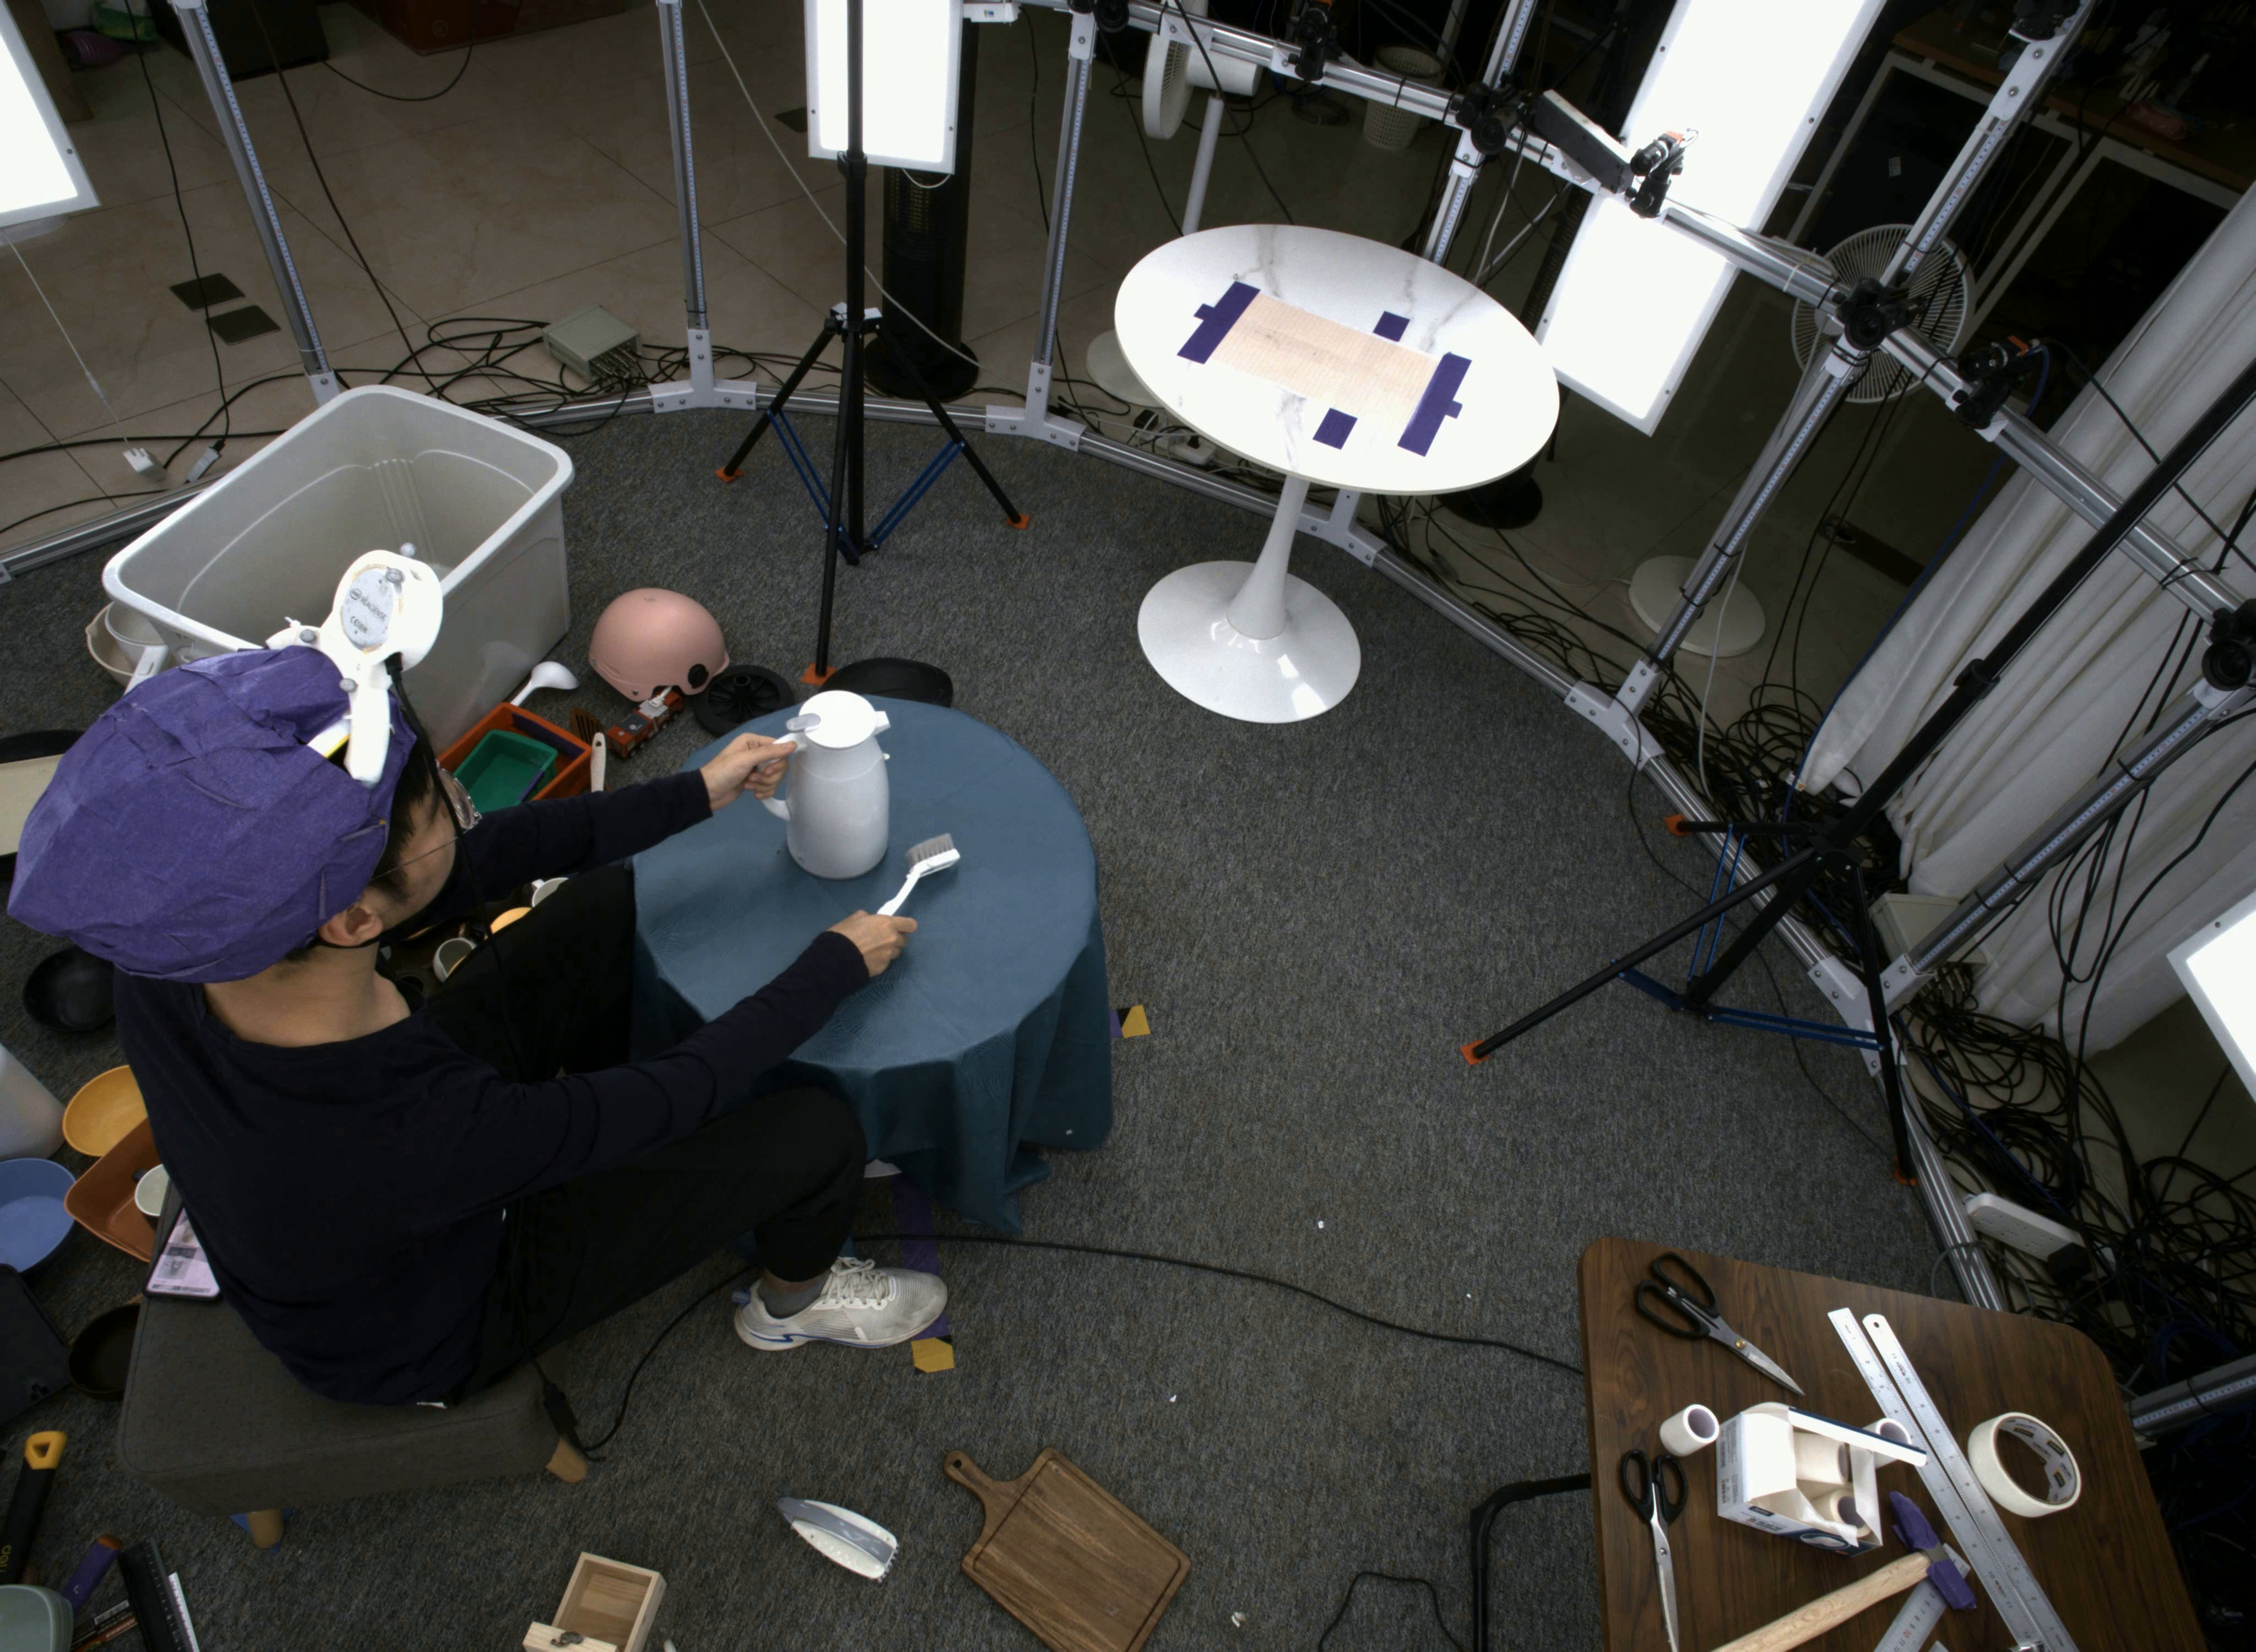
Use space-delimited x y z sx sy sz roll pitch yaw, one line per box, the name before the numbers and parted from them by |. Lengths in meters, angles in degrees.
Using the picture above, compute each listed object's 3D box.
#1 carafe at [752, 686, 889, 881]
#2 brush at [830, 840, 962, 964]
carafe | -0.381 -0.053 1.615 0.168 0.254 0.129 -17 58 -22
brush | -0.295 0.086 1.642 0.033 0.052 0.244 6 34 37
